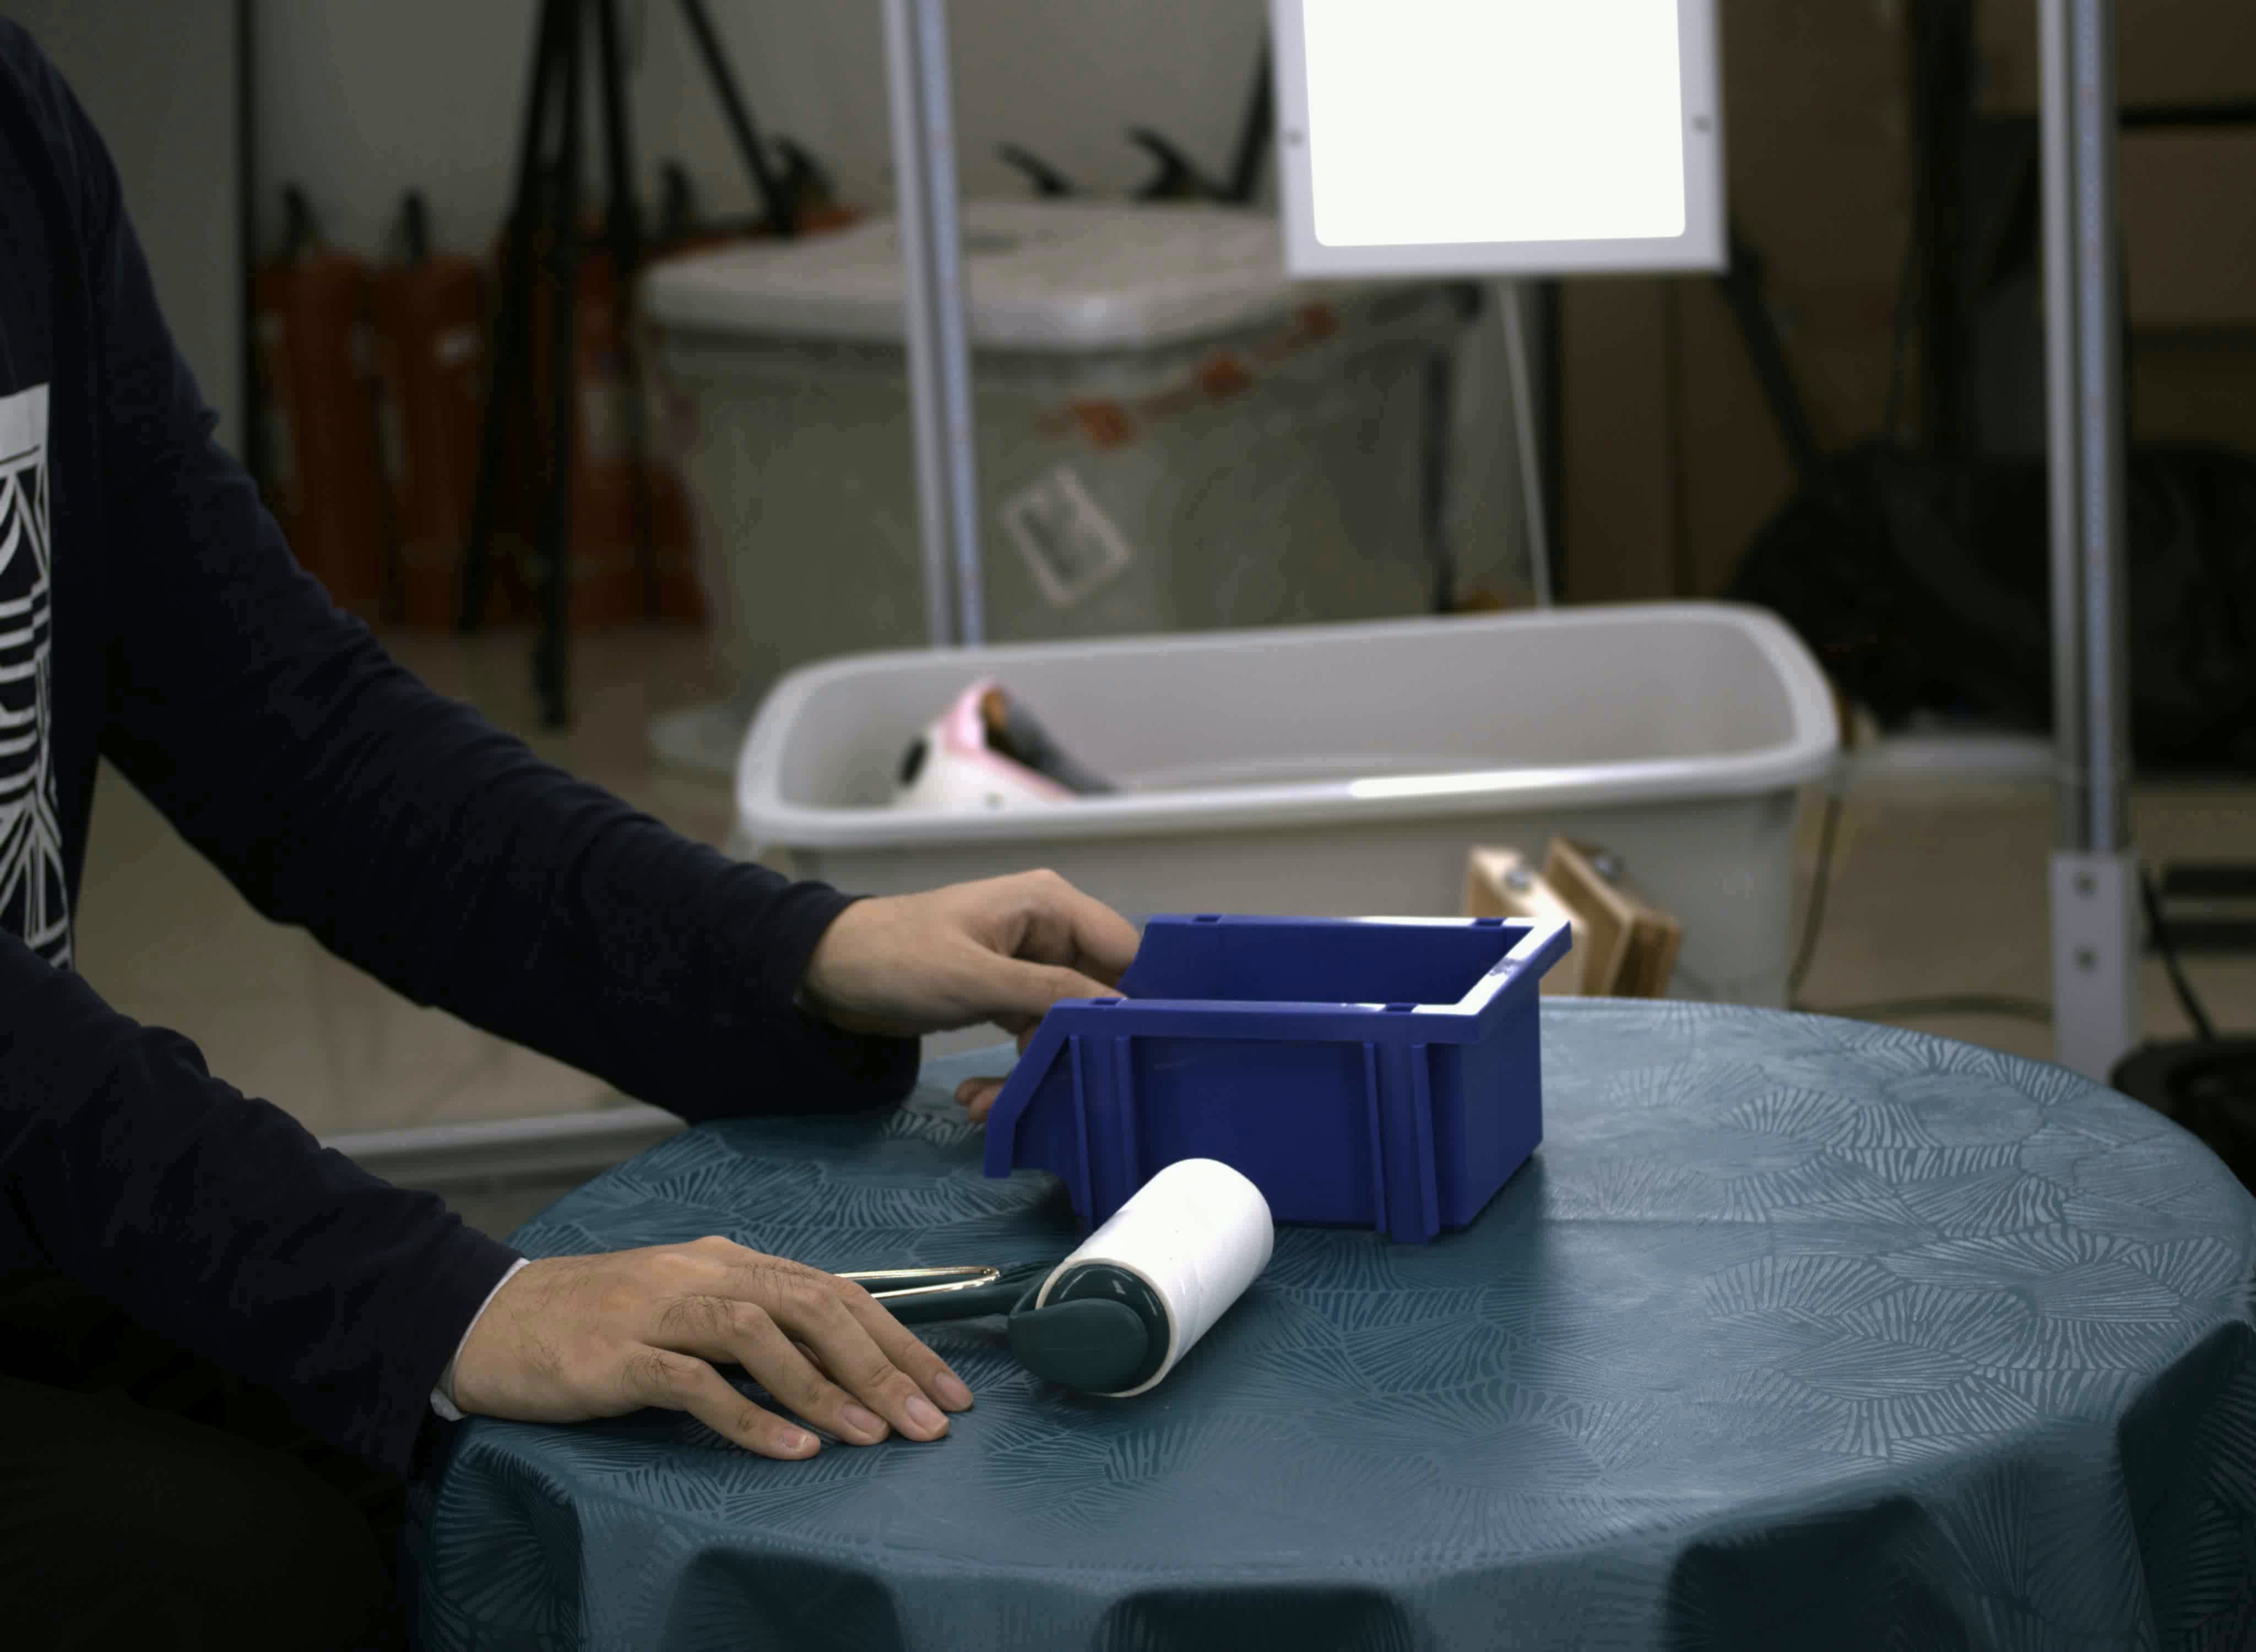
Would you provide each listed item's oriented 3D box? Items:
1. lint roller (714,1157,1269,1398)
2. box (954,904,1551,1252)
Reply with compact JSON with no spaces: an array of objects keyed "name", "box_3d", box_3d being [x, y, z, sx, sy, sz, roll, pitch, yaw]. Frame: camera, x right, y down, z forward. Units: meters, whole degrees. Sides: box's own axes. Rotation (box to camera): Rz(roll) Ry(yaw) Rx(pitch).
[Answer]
[{"name":"lint roller","box_3d":[-0.053,0.146,1.764,0.183,0.048,0.132,-4,14,22]},{"name":"box","box_3d":[0.043,0.084,1.889,0.182,0.082,0.122,4,17,23]}]
